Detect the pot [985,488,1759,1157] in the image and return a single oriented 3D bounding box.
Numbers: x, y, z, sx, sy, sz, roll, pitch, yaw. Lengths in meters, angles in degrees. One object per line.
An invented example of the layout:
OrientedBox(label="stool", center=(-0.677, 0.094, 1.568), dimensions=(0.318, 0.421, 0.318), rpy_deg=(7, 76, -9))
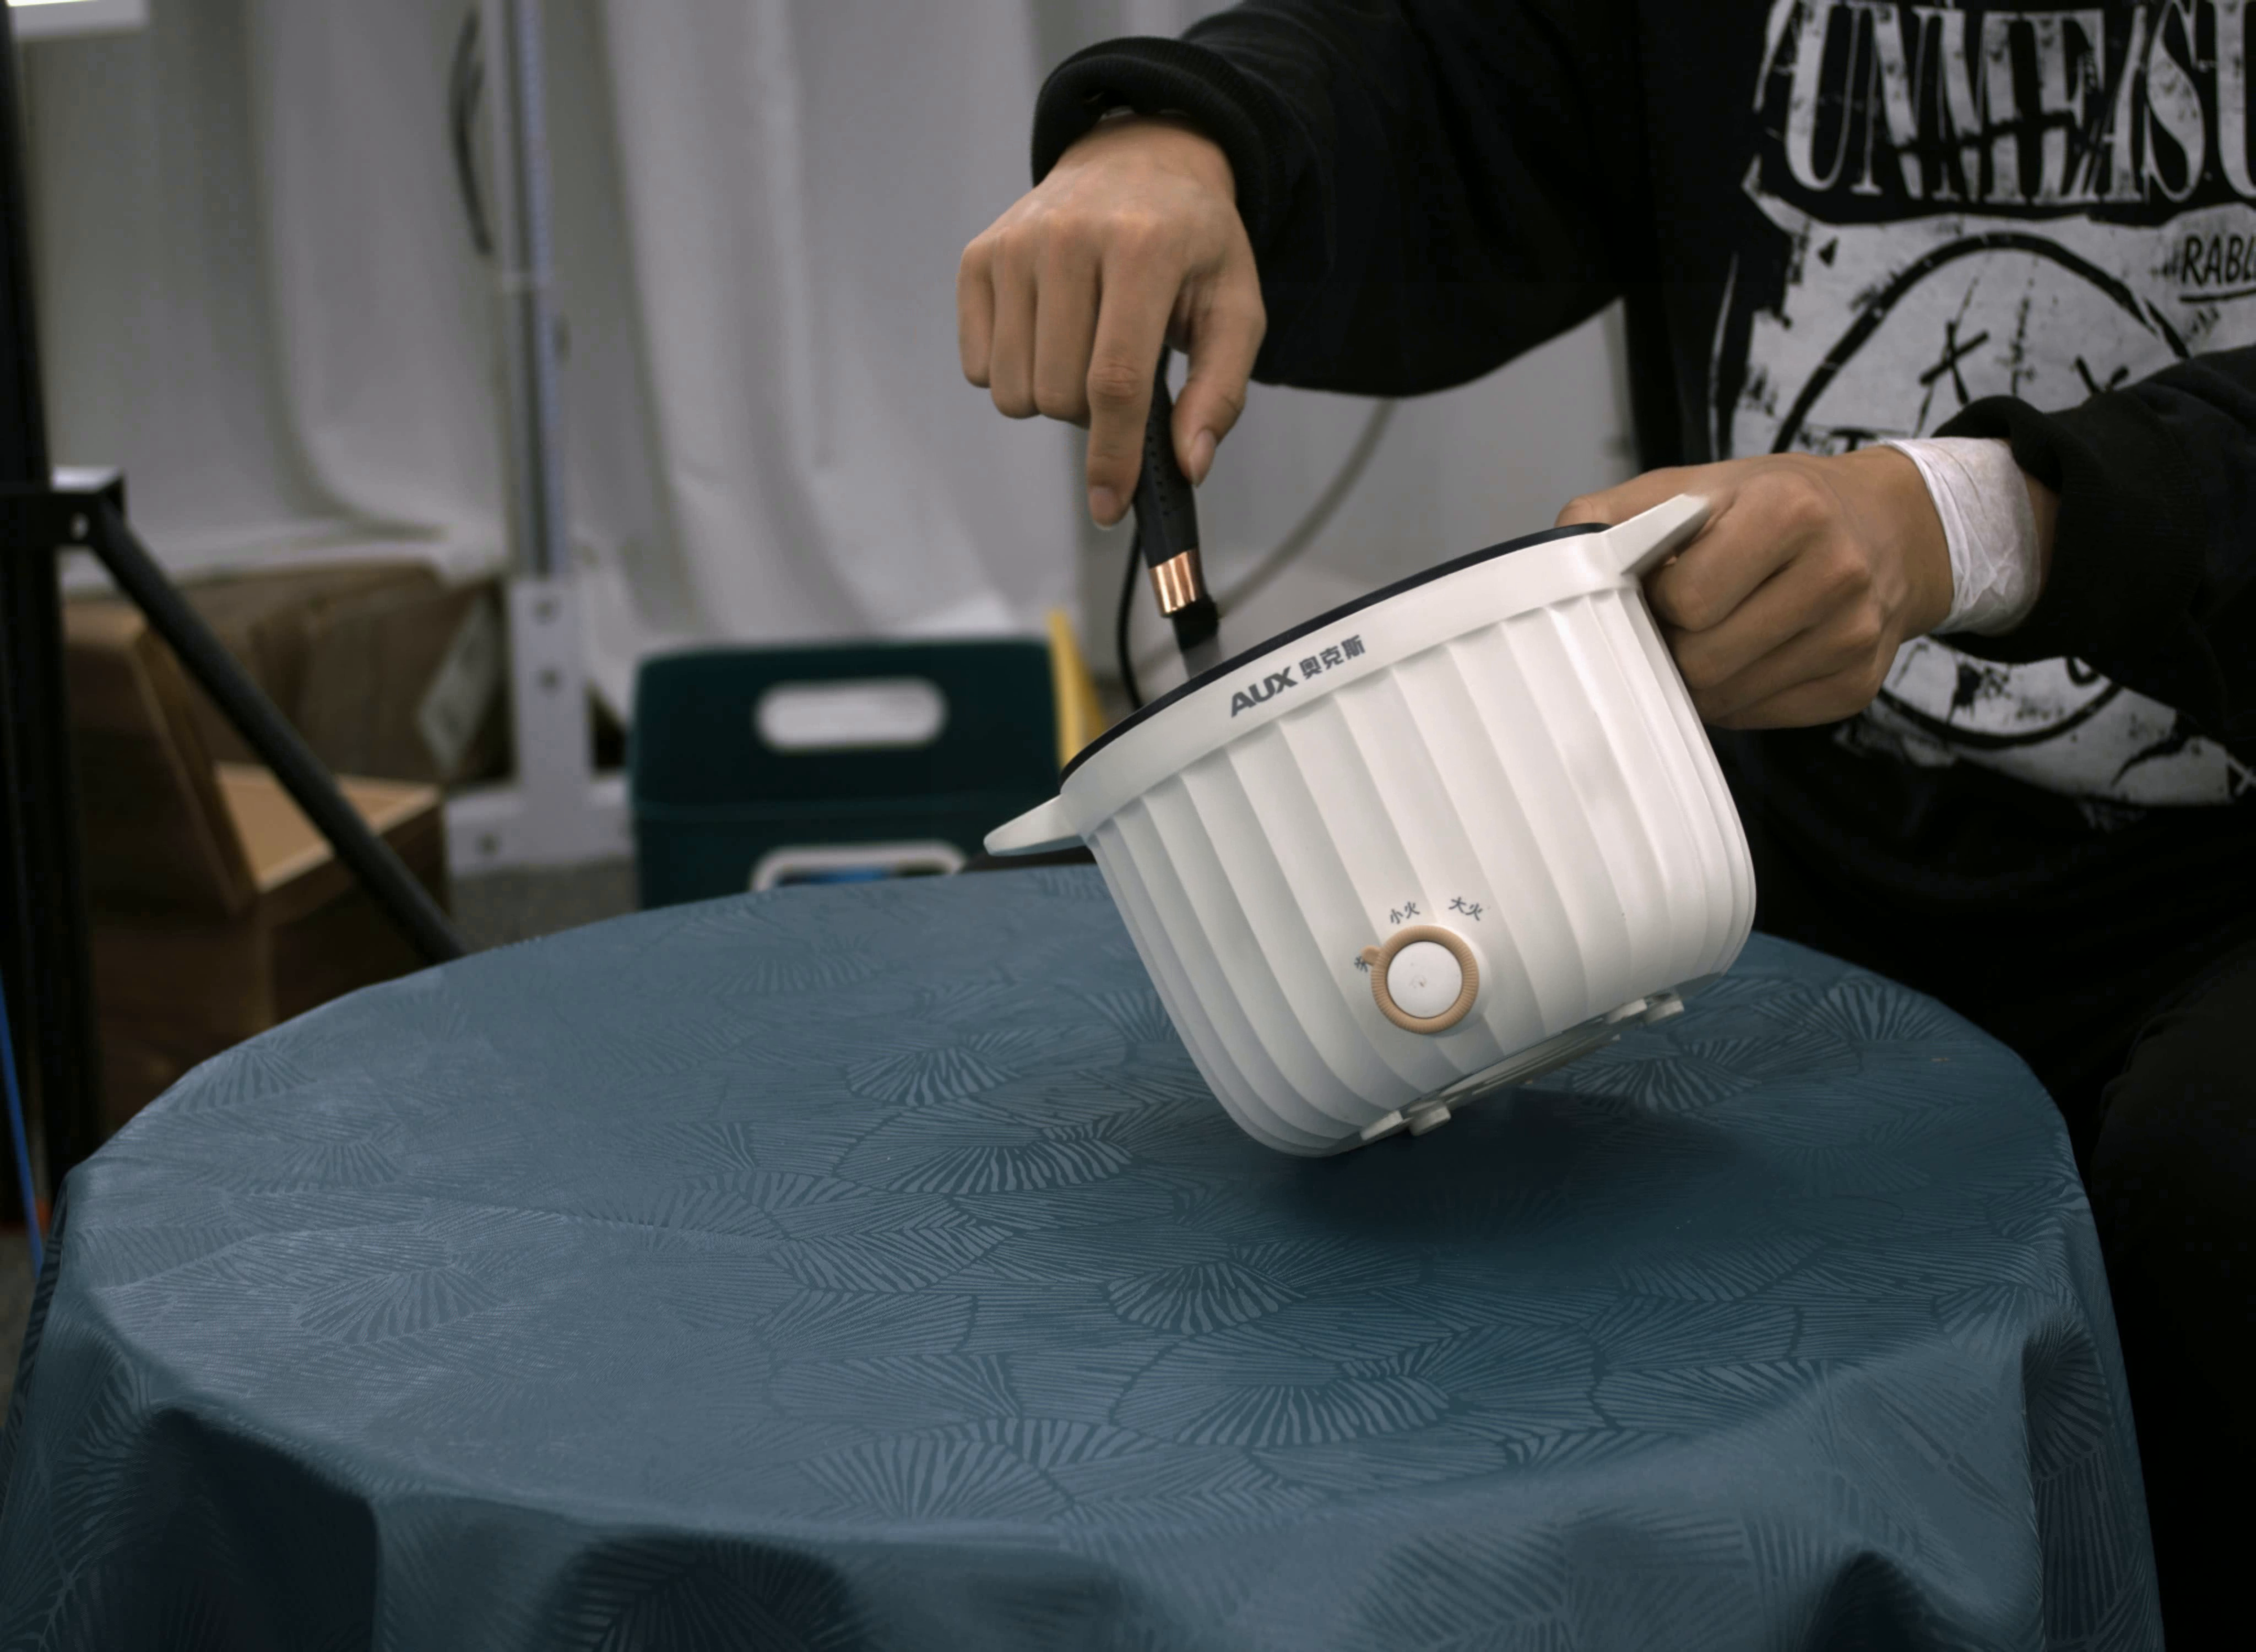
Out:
OrientedBox(label="pot", center=(0.089, 0.010, 1.547), dimensions=(0.241, 0.144, 0.188), rpy_deg=(-27, -12, 11))

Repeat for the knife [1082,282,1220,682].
OrientedBox(label="knife", center=(0.019, -0.062, 1.642), dimensions=(0.017, 0.228, 0.025), rpy_deg=(-22, -17, 25))
